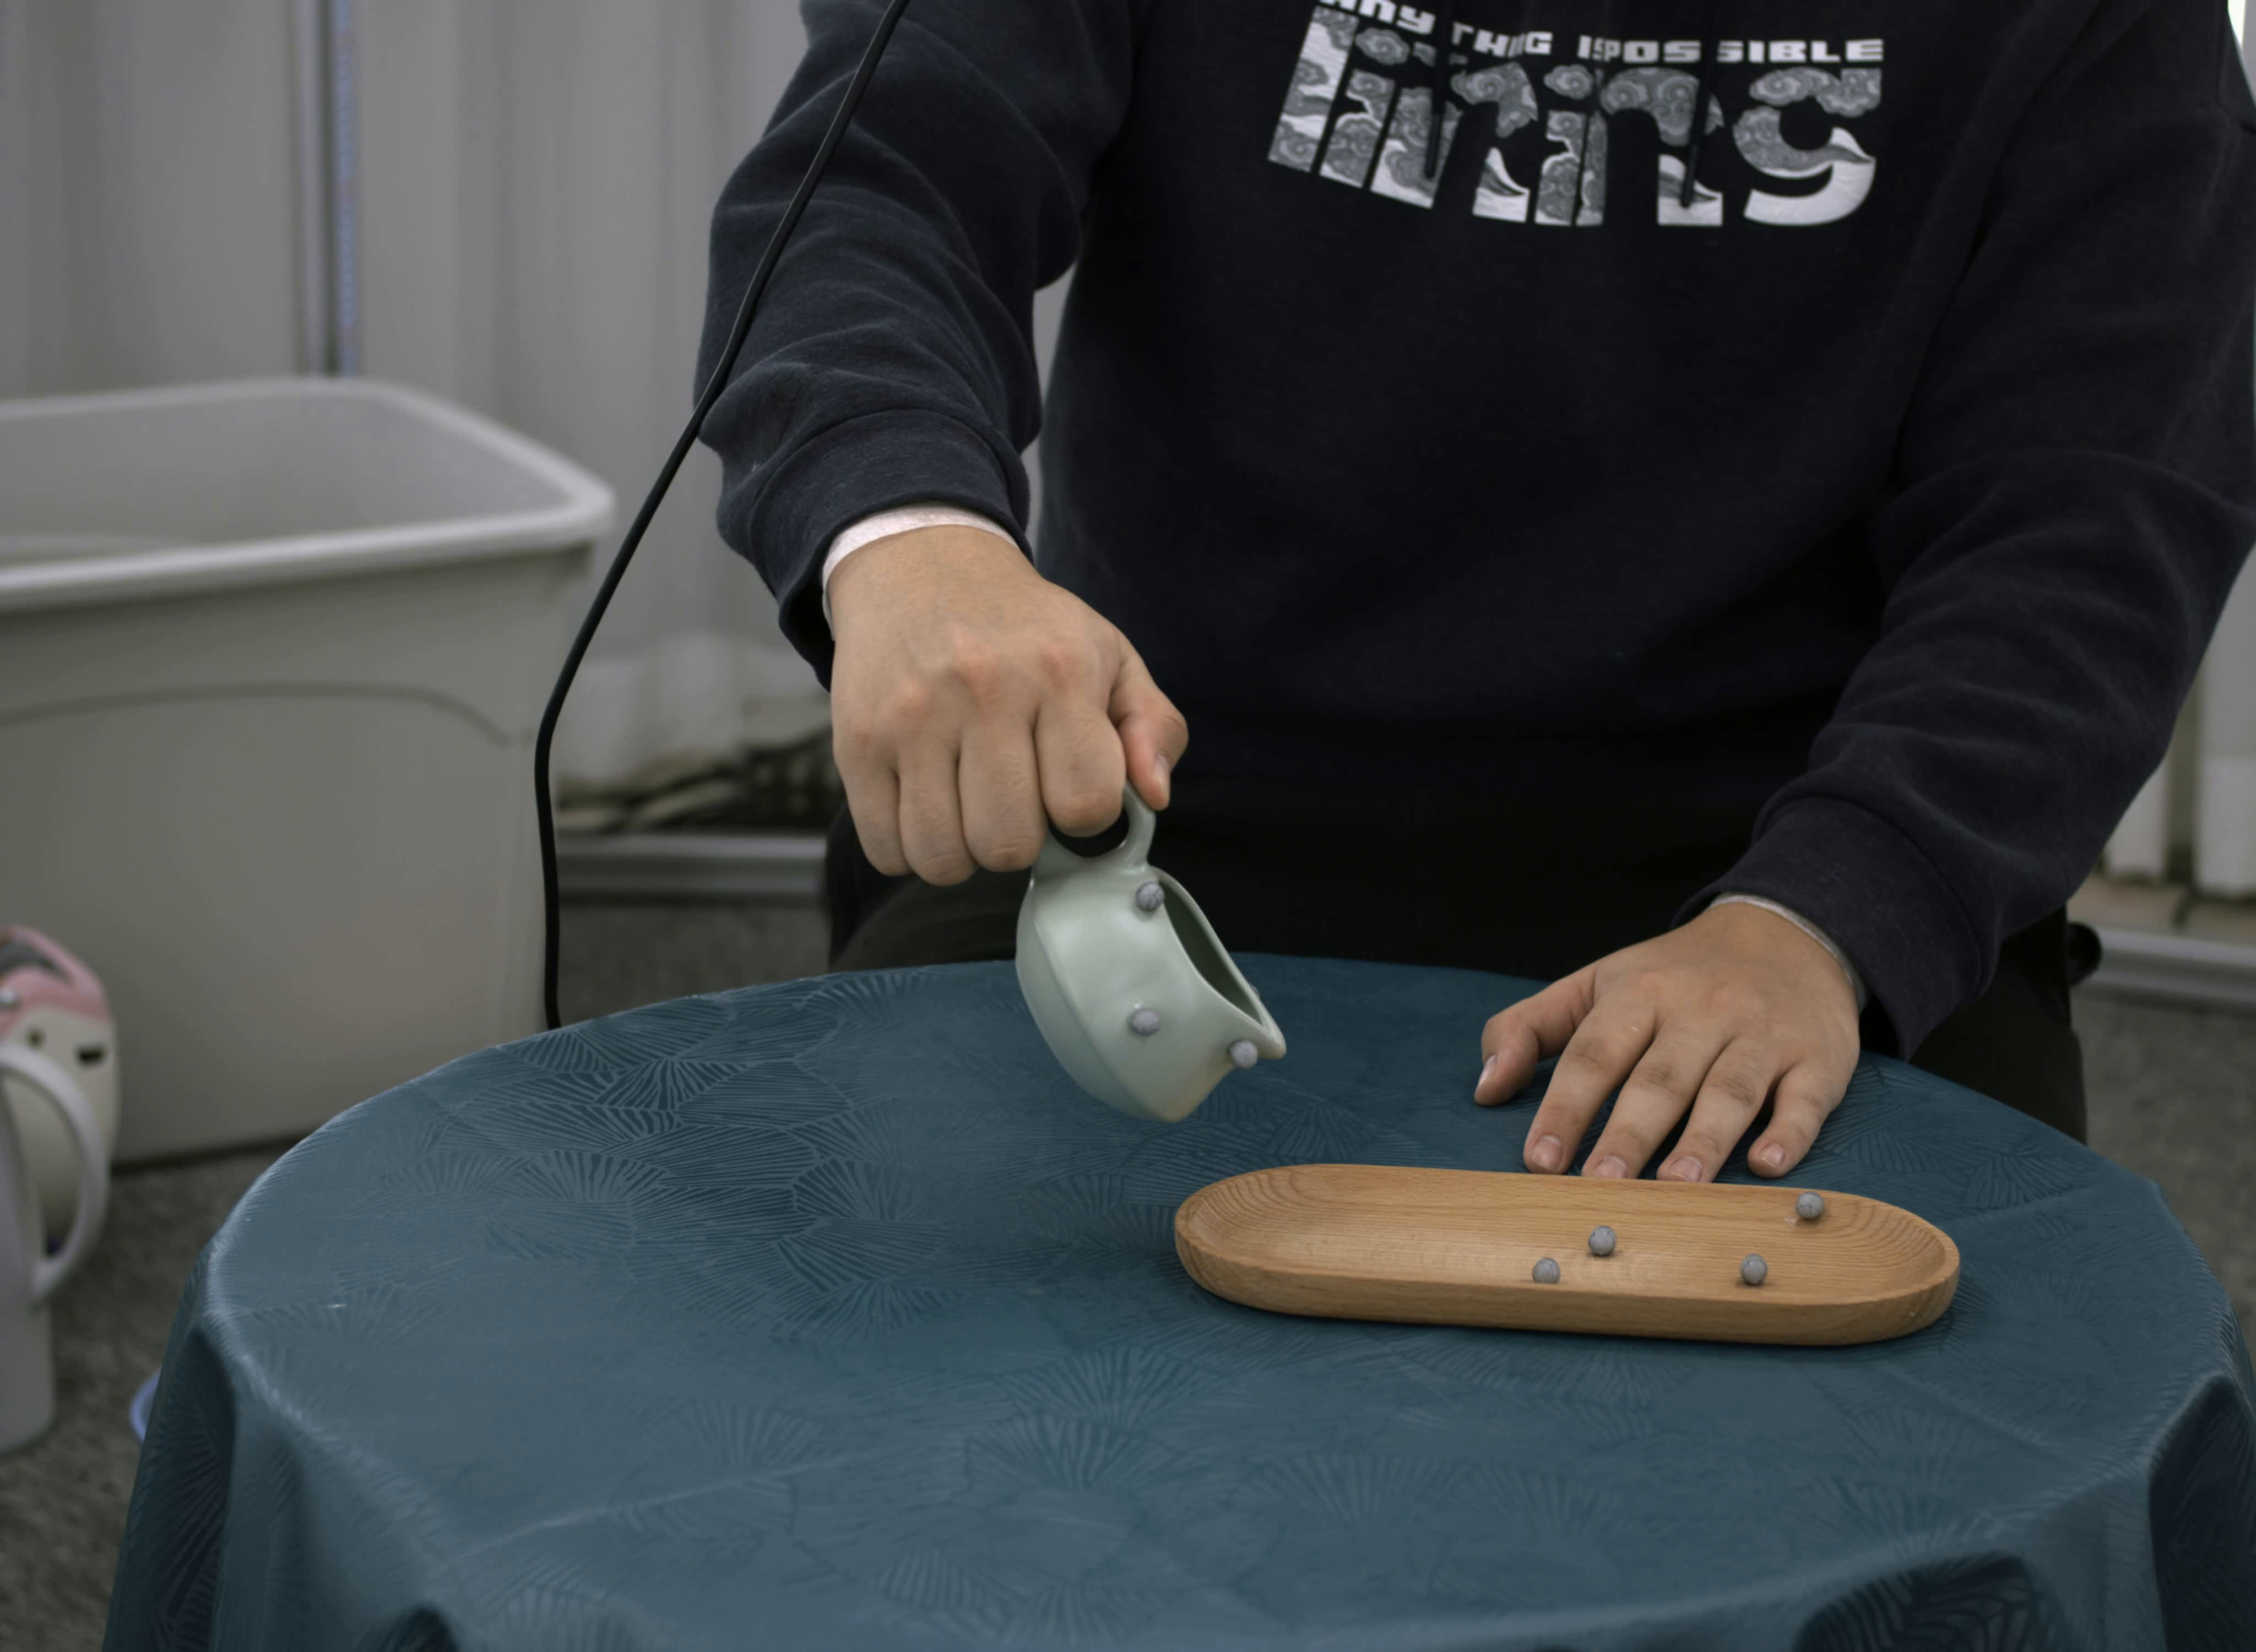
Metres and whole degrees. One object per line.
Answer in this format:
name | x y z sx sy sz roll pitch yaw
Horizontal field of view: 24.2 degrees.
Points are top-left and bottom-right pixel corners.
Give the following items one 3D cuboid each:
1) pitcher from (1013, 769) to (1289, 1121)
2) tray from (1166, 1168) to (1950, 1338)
pitcher | -0.003 0.036 1.555 0.060 0.108 0.086 -31 9 13
tray | 0.126 0.126 1.555 0.230 0.020 0.101 1 14 7
